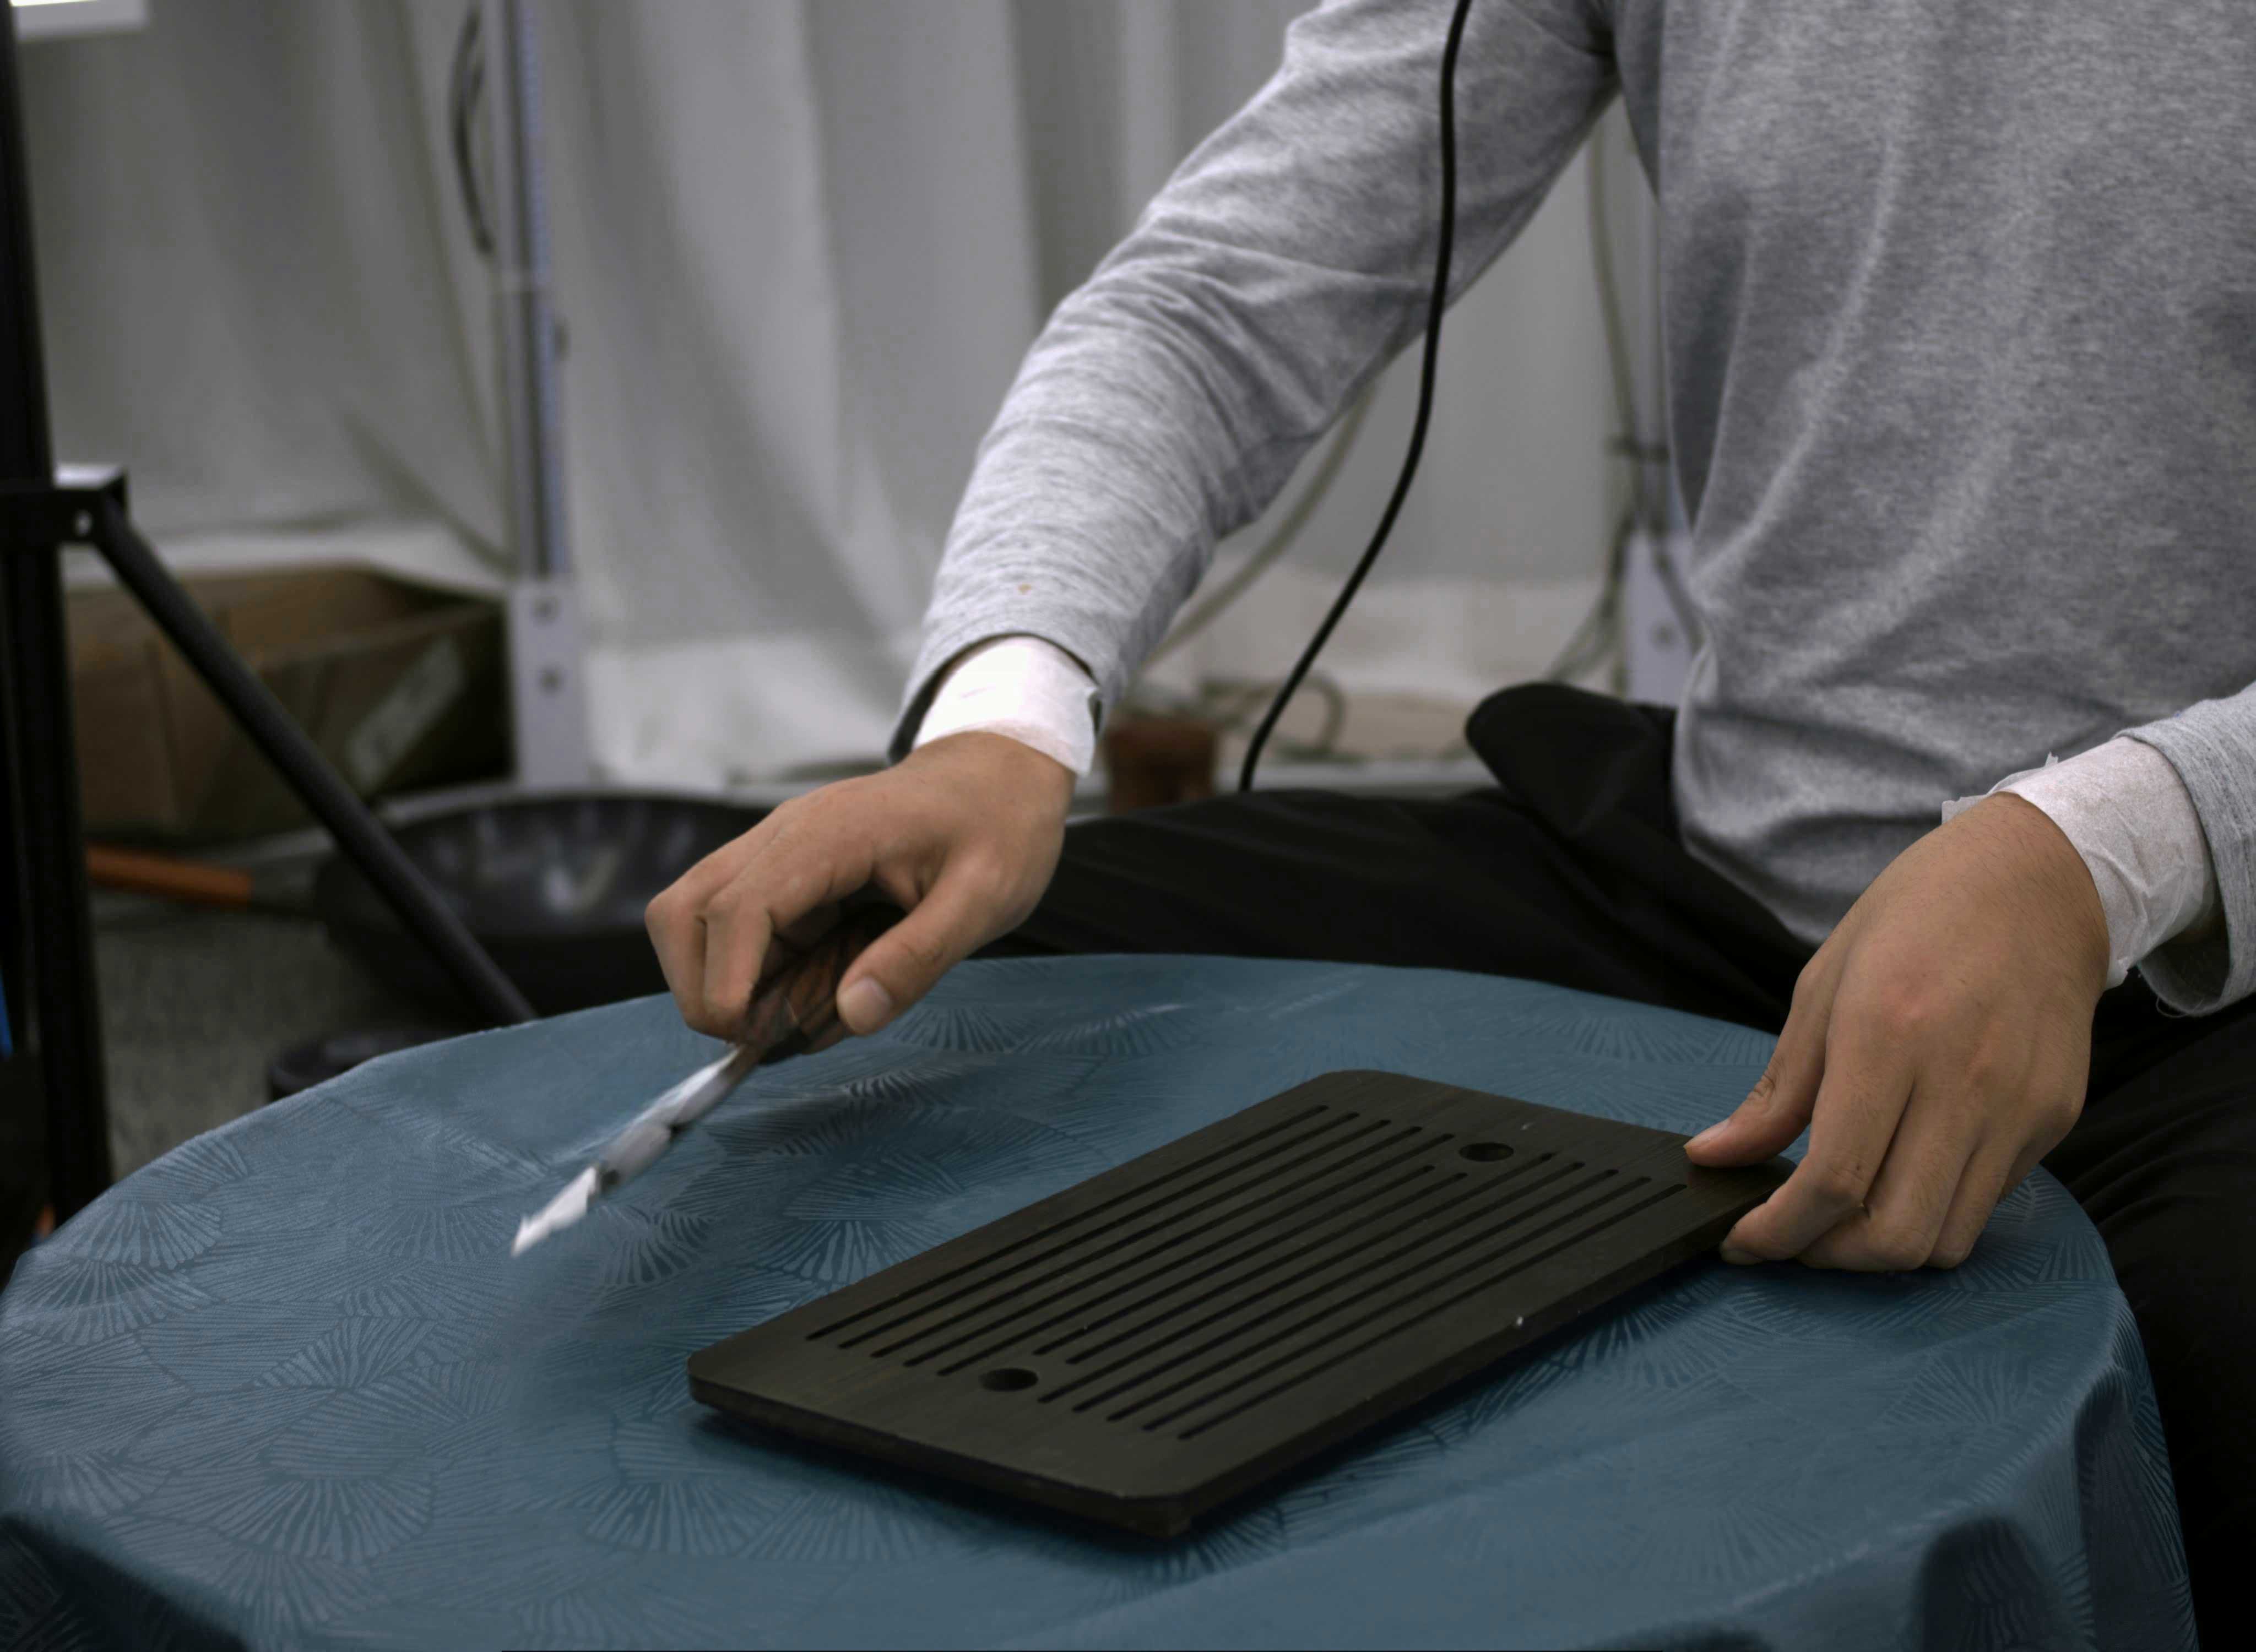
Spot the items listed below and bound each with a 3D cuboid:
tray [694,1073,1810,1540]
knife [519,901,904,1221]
[{"bbox_3d":[0.040,0.128,1.454,0.174,0.018,0.299,10,20,39],"label":"tray"},{"bbox_3d":[-0.118,0.068,1.549,0.051,0.020,0.286,-32,4,22],"label":"knife"}]
